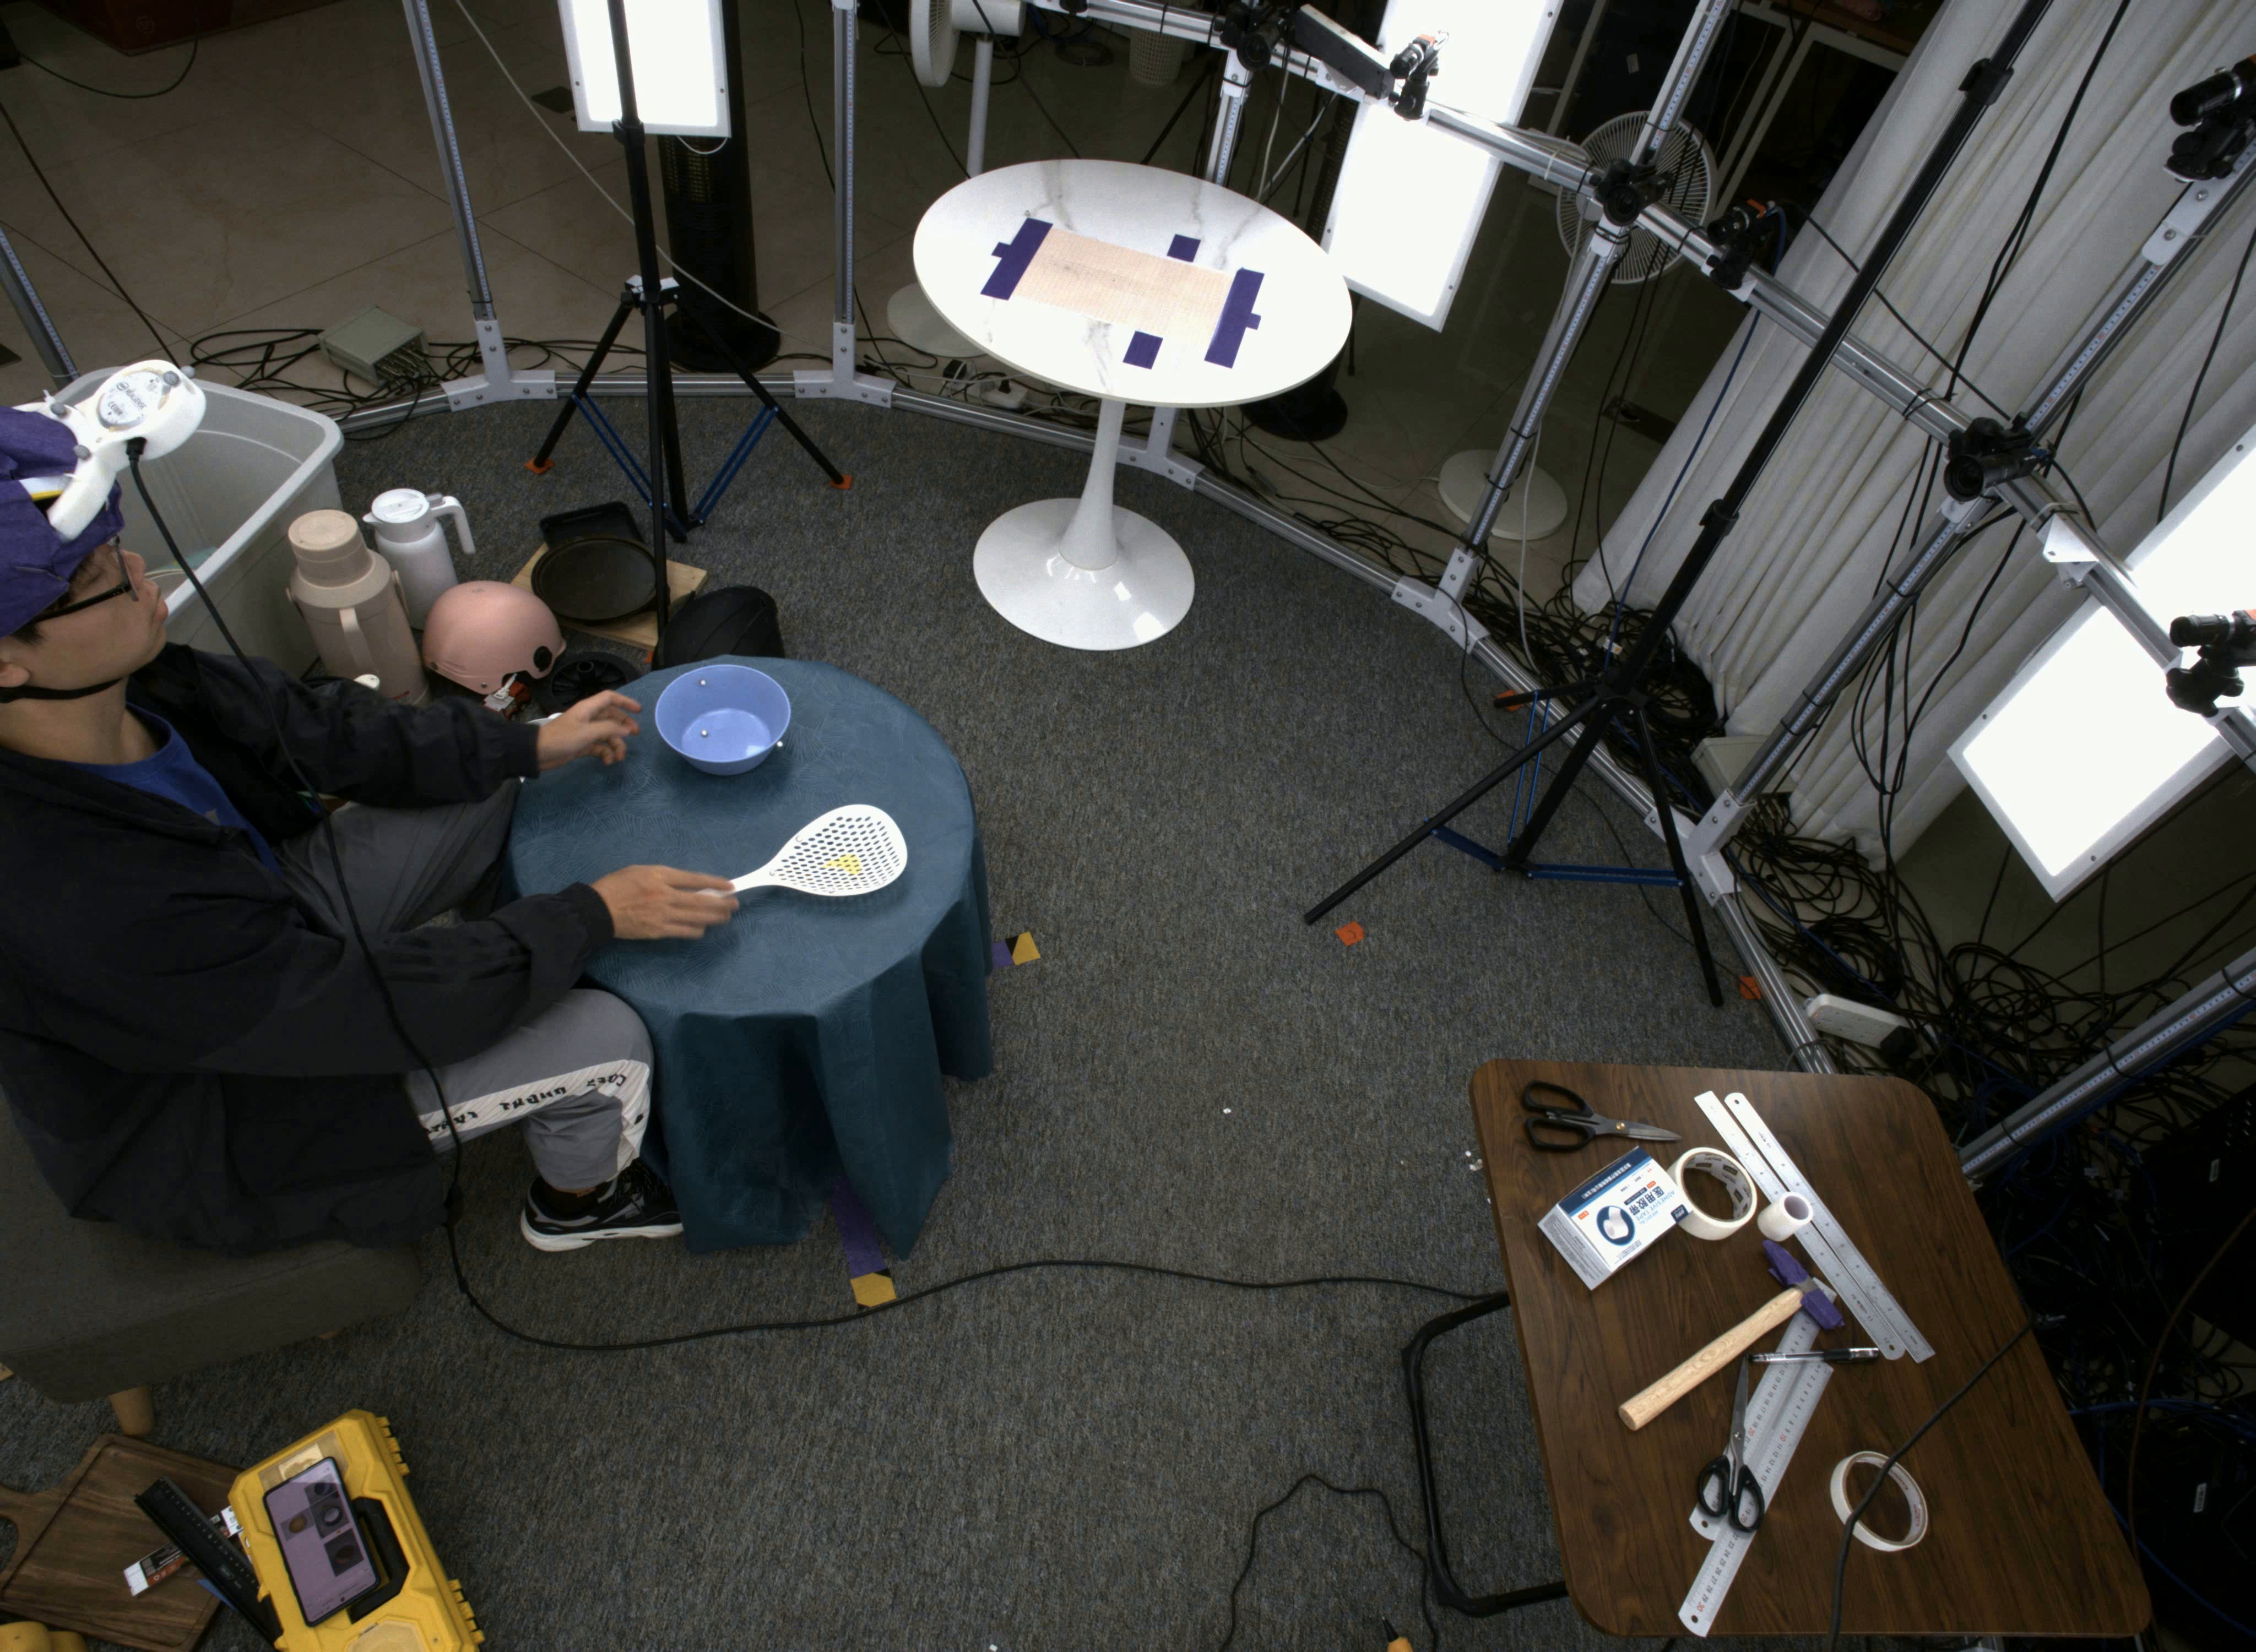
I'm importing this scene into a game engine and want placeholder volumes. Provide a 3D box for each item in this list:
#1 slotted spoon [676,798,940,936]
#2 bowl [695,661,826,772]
[{"bbox_3d":[-0.411,0.063,1.663,0.349,0.051,0.134,-18,67,-24],"label":"slotted spoon"},{"bbox_3d":[-0.502,-0.140,1.773,0.175,0.072,0.173,7,52,-8],"label":"bowl"}]
